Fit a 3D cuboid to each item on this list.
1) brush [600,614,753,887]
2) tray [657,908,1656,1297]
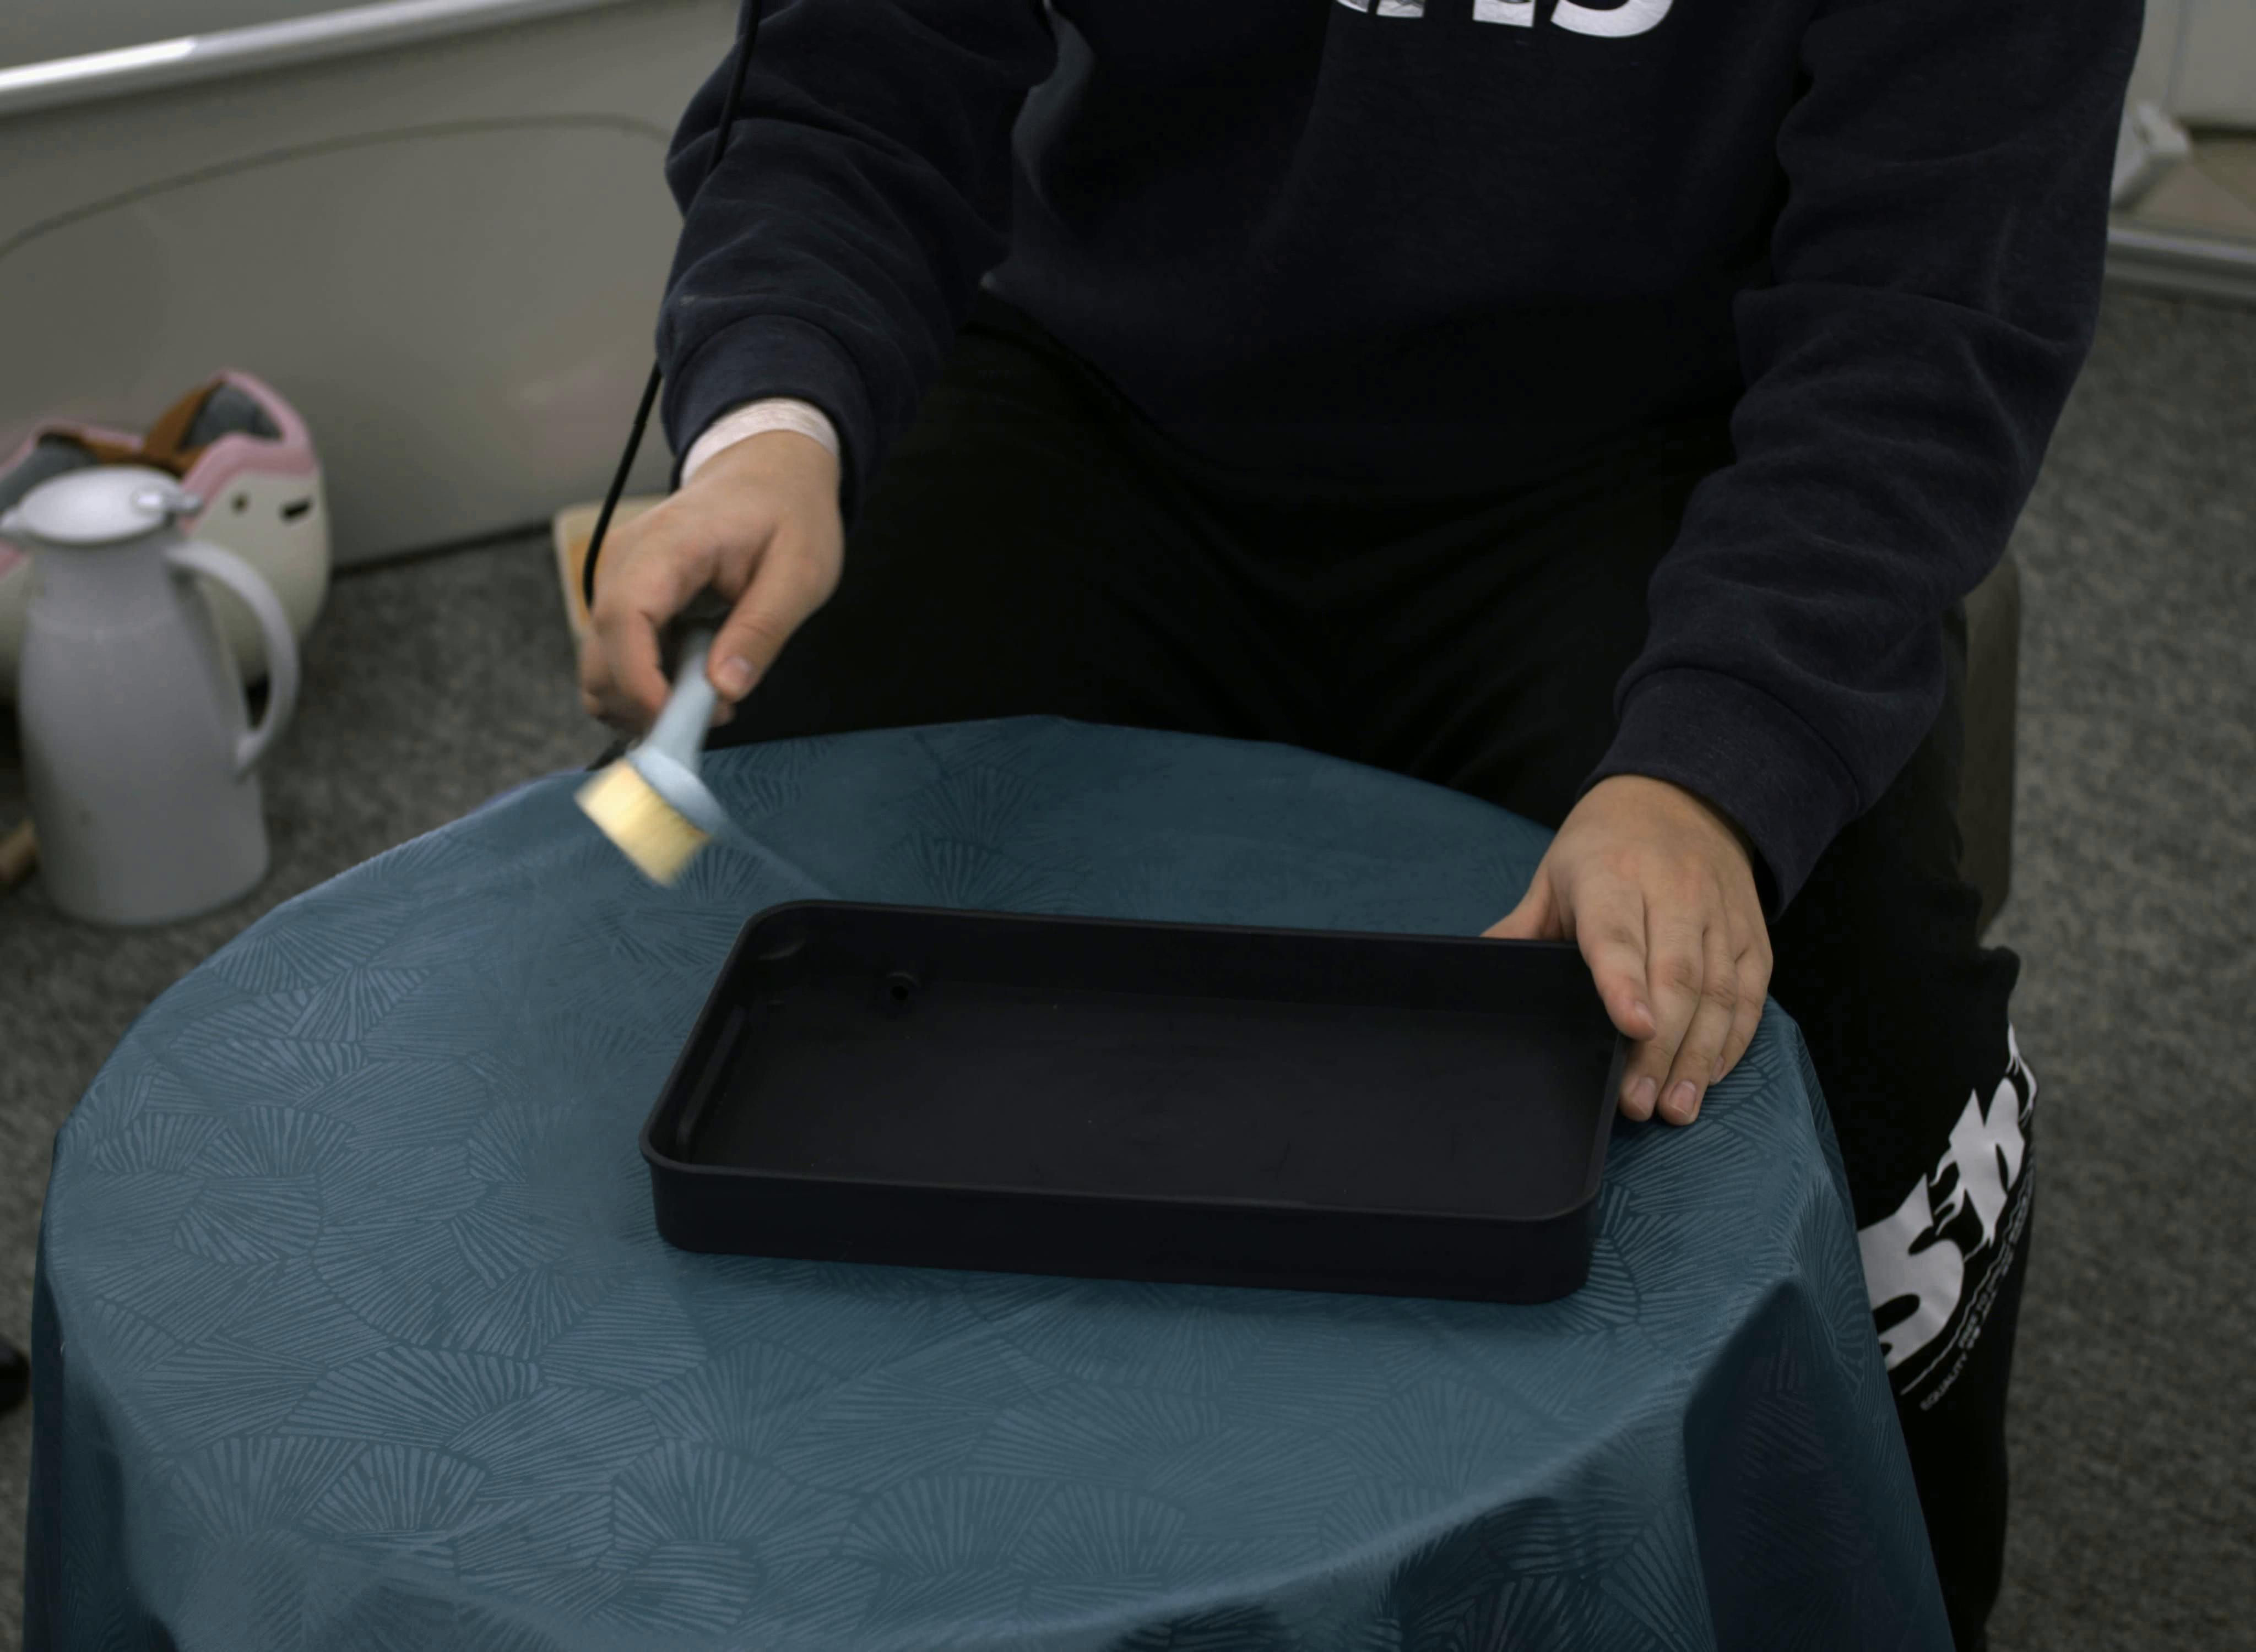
[{"bbox_3d":[-0.156,-0.028,1.924,0.037,0.049,0.231,39,12,-16],"label":"brush"},{"bbox_3d":[0.014,0.091,1.885,0.316,0.036,0.187,2,27,9],"label":"tray"}]
